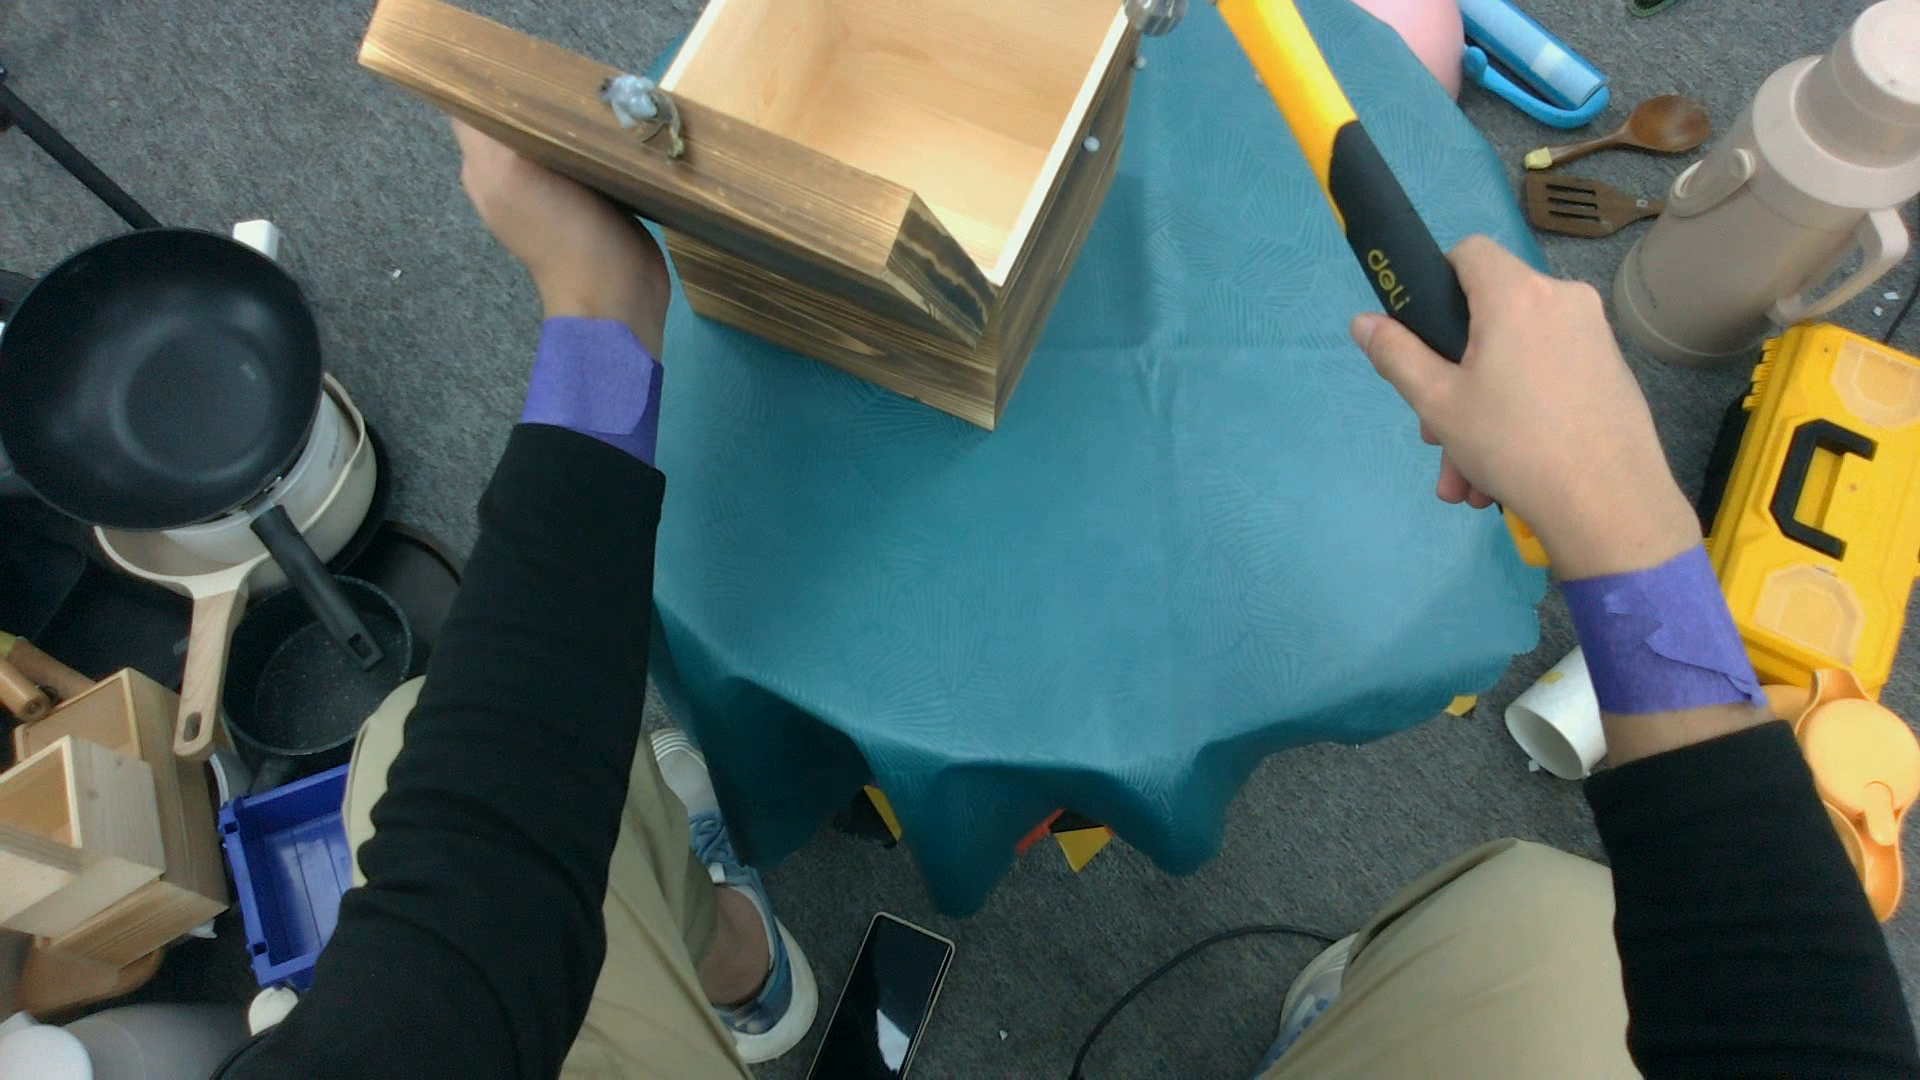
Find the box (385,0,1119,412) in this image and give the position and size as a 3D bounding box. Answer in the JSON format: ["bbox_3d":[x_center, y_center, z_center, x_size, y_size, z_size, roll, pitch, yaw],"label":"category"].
[{"bbox_3d":[-0.062,-0.216,0.664,0.209,0.374,0.323,22,70,7],"label":"box"}]

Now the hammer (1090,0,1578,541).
[{"bbox_3d":[0.163,-0.151,0.599,0.032,0.131,0.339,-24,80,-20],"label":"hammer"}]
